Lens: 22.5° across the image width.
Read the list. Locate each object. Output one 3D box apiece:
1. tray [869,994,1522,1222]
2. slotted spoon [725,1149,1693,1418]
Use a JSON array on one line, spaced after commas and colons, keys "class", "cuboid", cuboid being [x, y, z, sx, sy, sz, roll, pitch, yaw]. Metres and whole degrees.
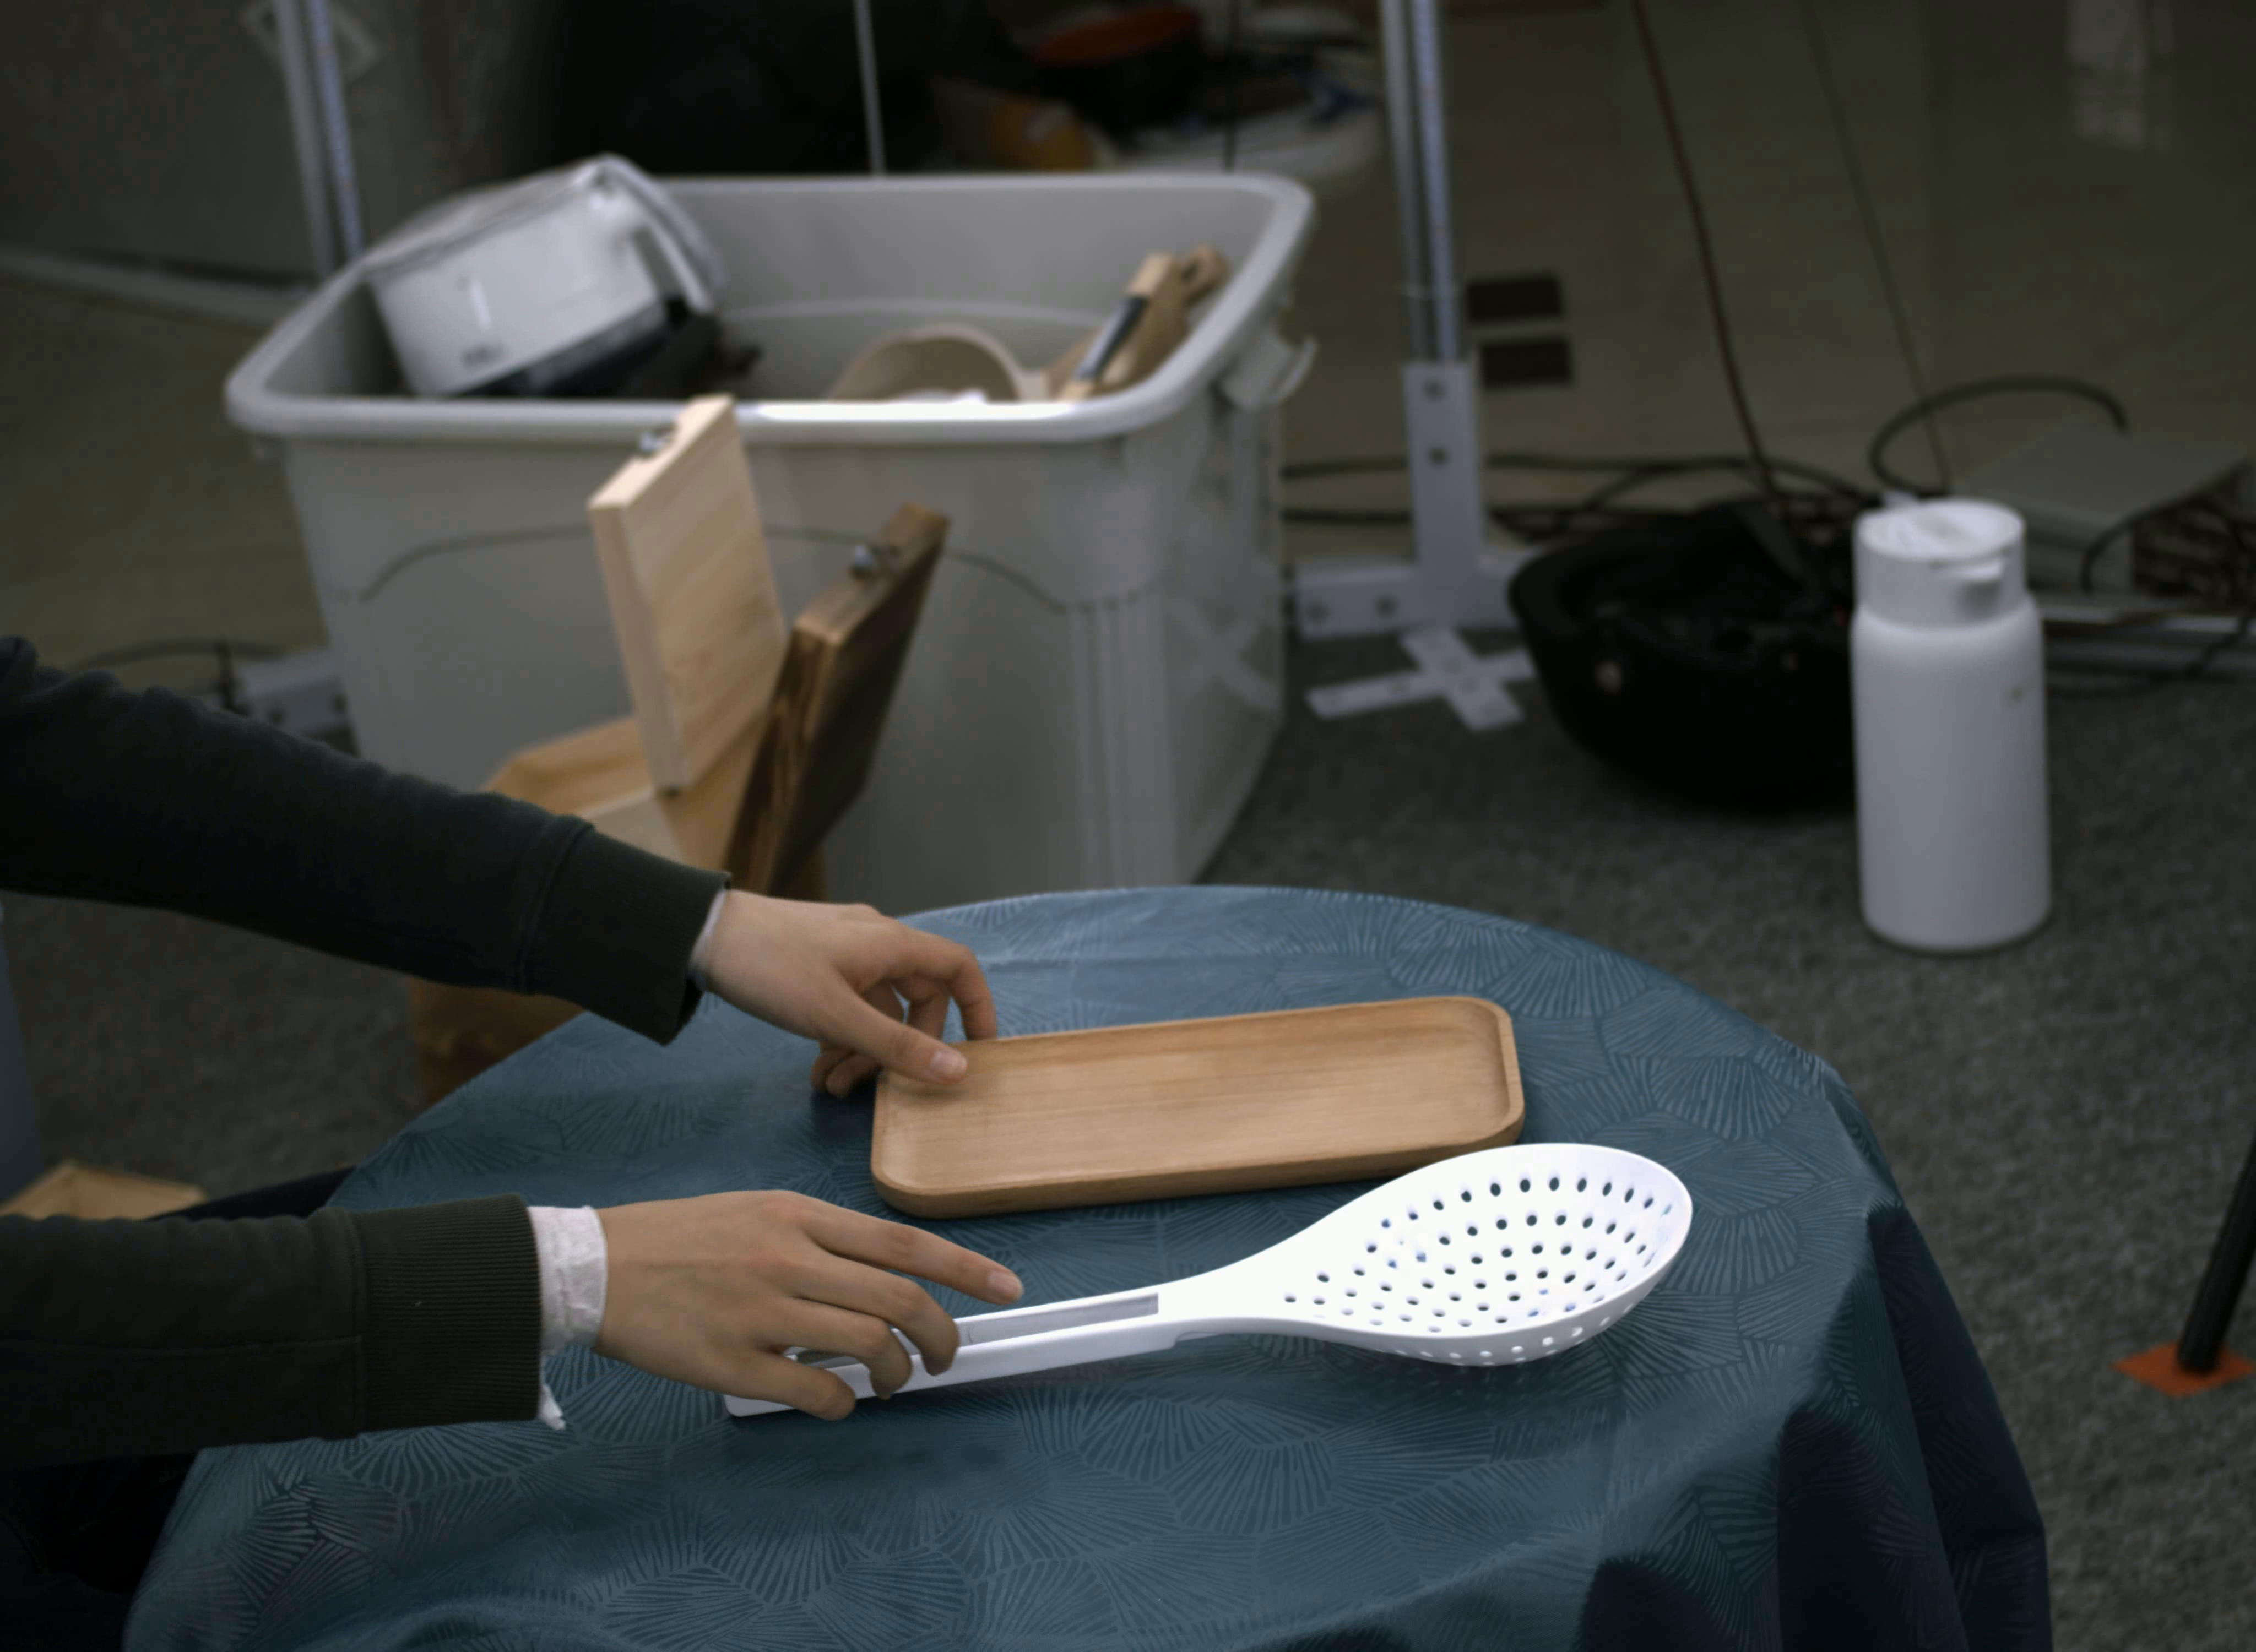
[{"class": "tray", "cuboid": [0.025, 0.109, 2.191, 0.250, 0.023, 0.129, -6, 23, 3]}, {"class": "slotted spoon", "cuboid": [0.028, 0.172, 2.021, 0.349, 0.046, 0.134, -6, 23, 3]}]
